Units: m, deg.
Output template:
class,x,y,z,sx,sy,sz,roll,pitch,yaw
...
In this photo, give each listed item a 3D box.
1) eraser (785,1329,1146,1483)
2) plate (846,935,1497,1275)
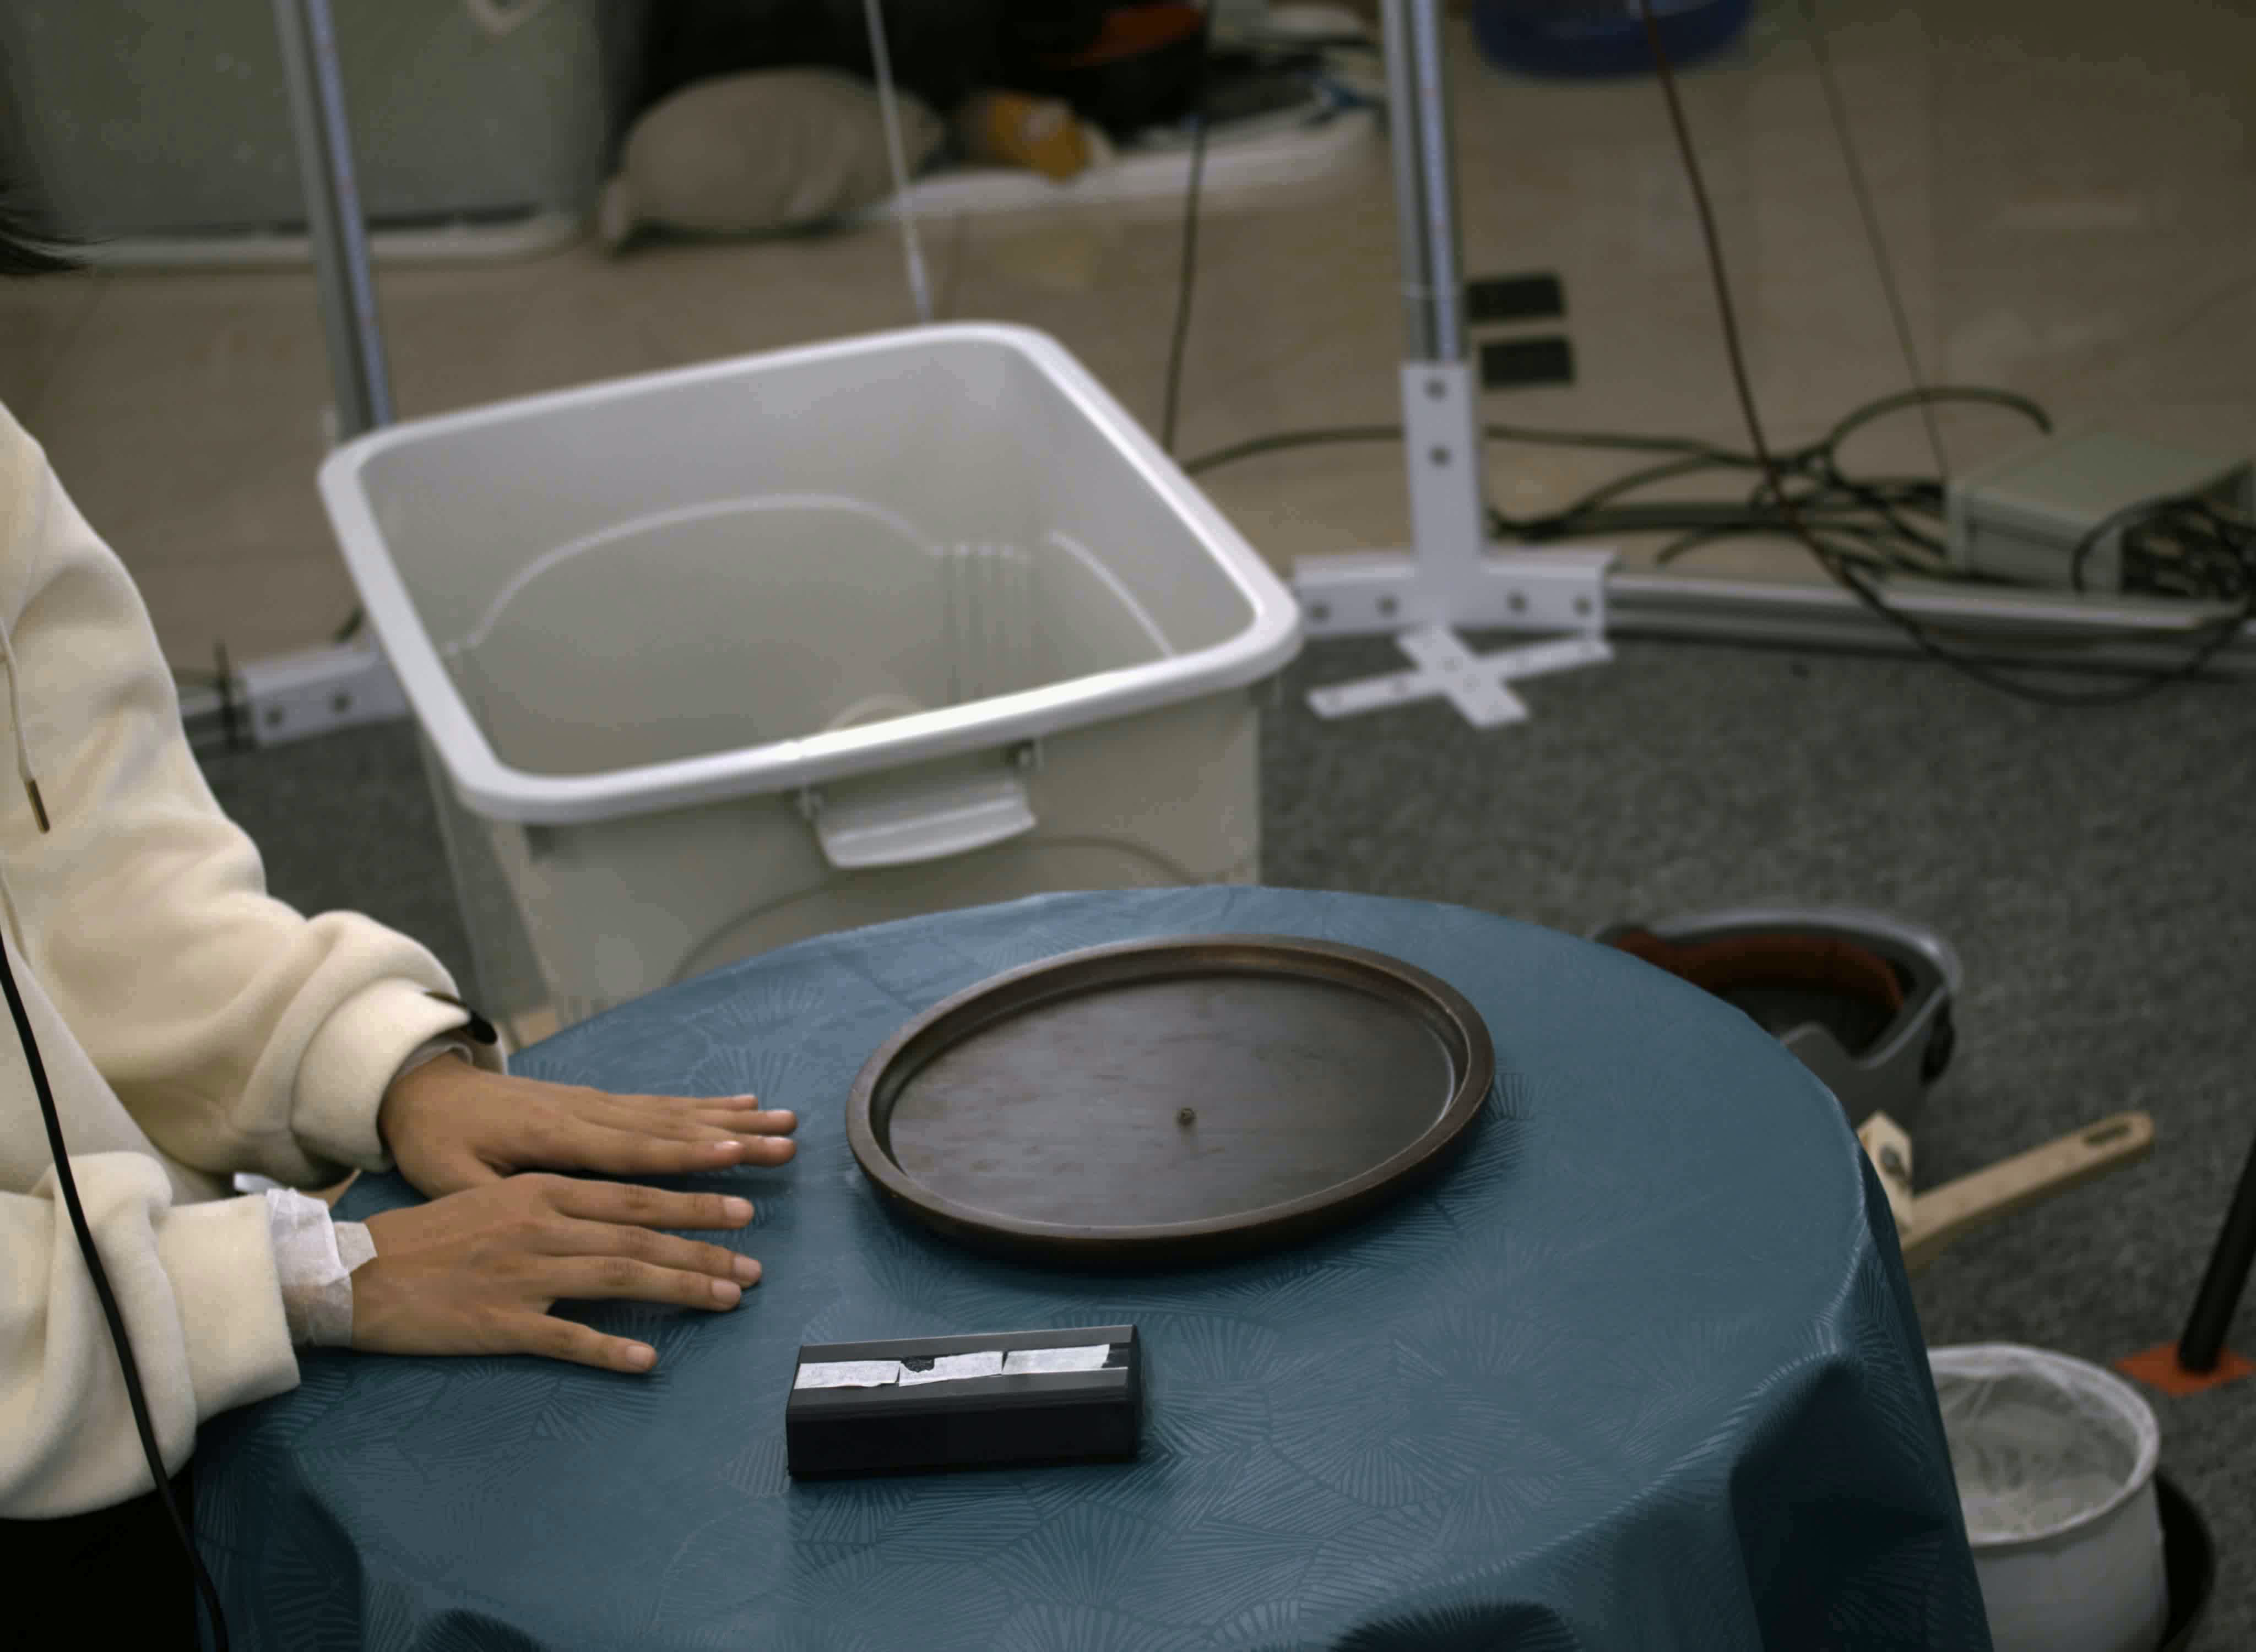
class,x,y,z,sx,sy,sz,roll,pitch,yaw
eraser,-0.055,0.203,1.993,0.125,0.031,0.053,-5,23,6
plate,0.017,0.106,2.187,0.254,0.029,0.251,-4,25,2
